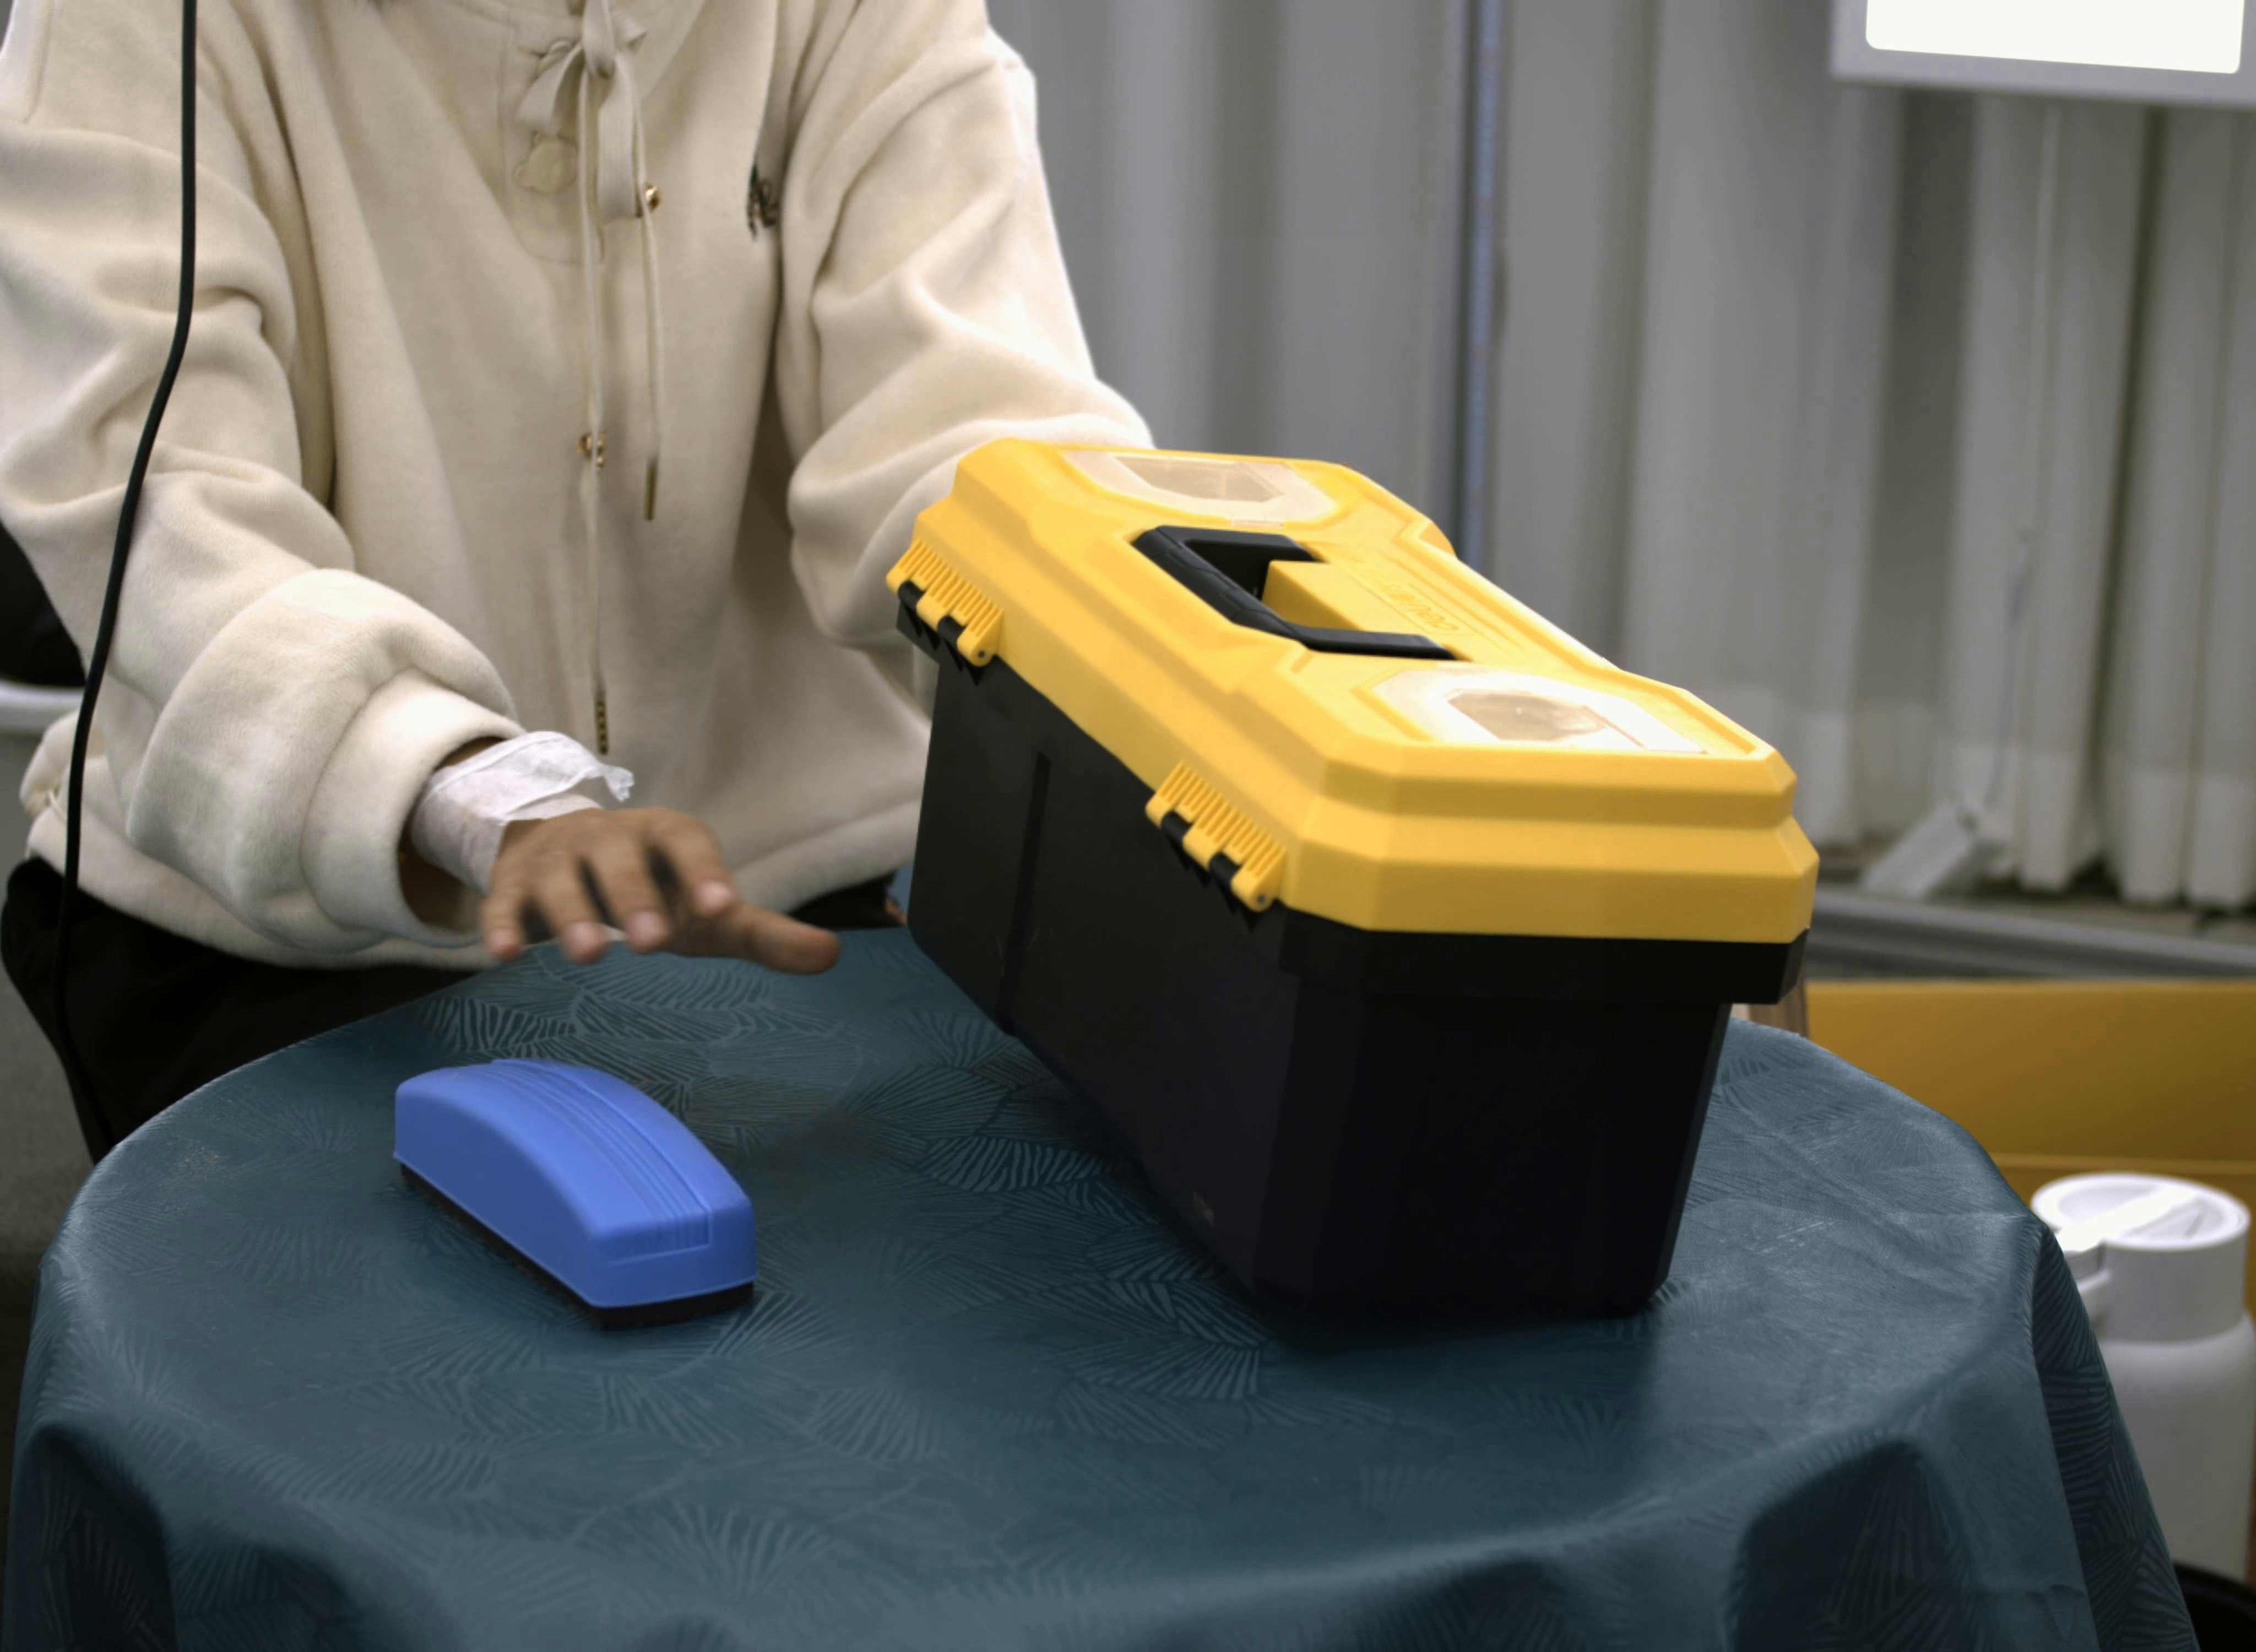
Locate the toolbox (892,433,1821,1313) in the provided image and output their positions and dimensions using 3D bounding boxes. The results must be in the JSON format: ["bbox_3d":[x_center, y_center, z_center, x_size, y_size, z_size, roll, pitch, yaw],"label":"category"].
[{"bbox_3d":[0.055,0.008,1.603,0.182,0.174,0.347,2,19,-23],"label":"toolbox"}]

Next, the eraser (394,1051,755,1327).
[{"bbox_3d":[-0.166,0.101,1.566,0.054,0.048,0.160,-8,19,-29],"label":"eraser"}]
